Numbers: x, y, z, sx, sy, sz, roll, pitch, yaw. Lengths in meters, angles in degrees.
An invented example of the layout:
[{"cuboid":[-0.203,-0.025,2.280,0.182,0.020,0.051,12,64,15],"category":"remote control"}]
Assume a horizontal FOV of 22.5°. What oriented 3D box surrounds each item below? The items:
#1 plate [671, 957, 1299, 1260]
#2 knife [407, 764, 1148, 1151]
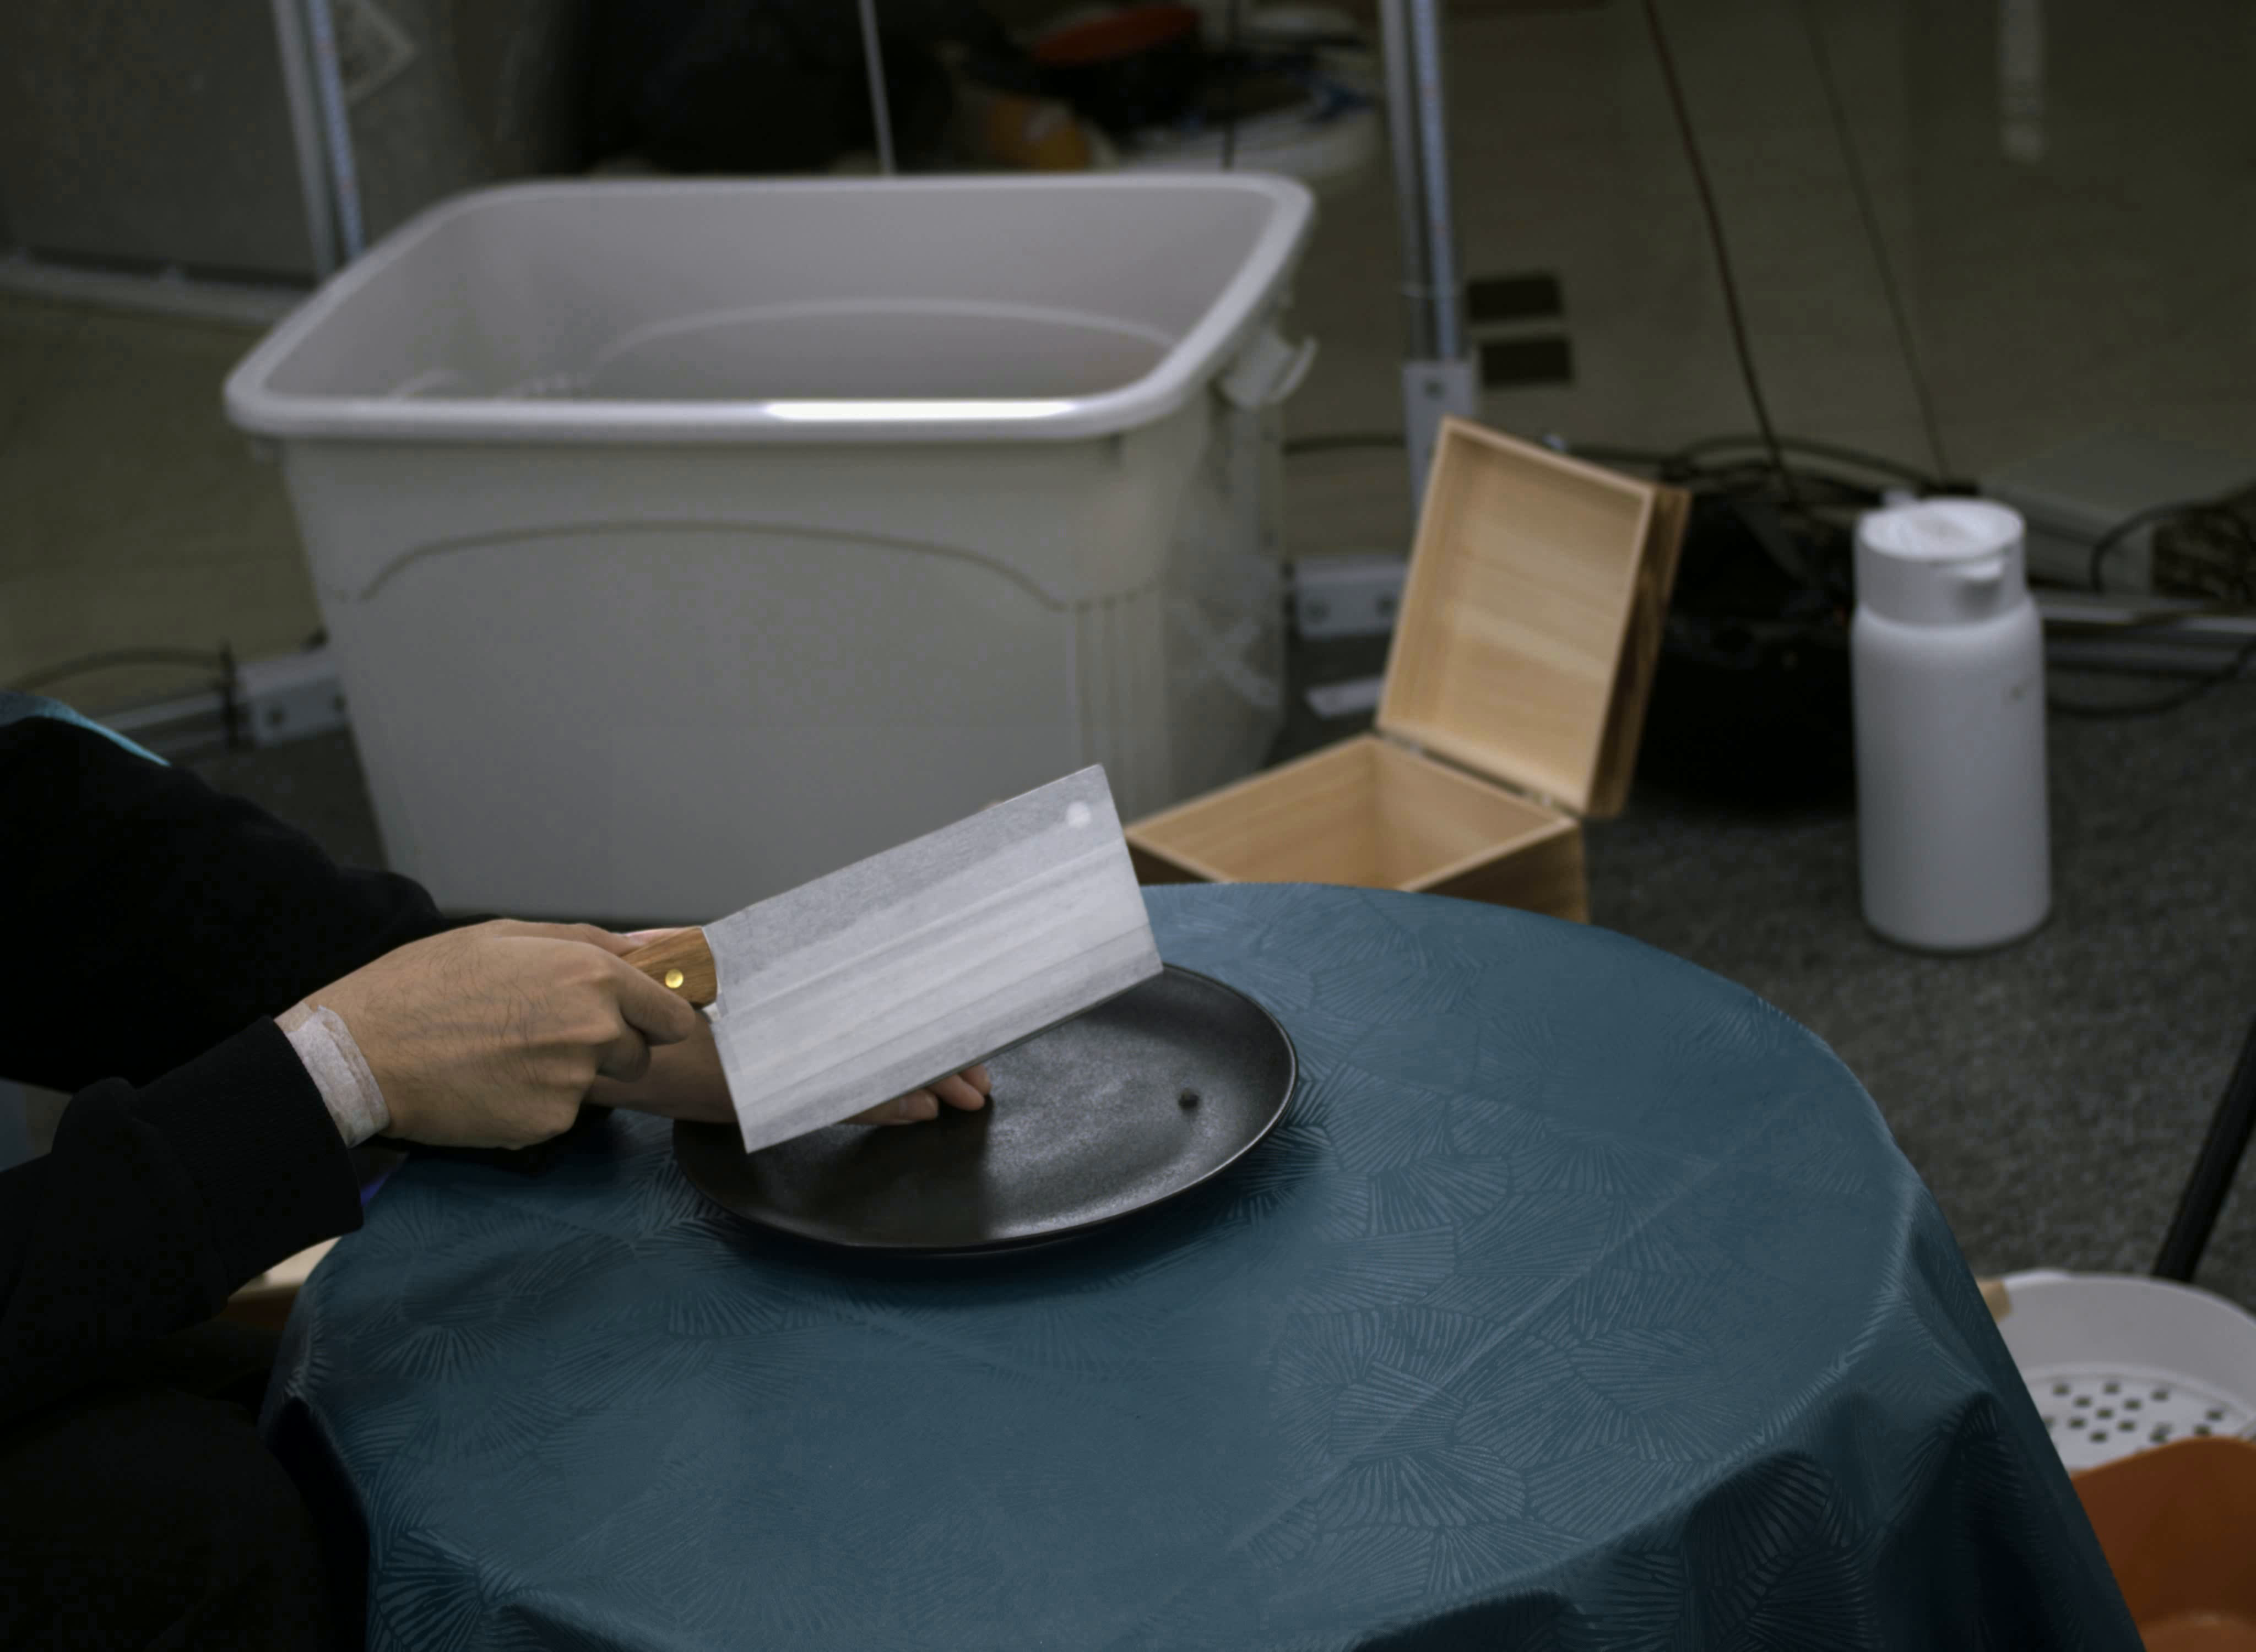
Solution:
[{"cuboid":[-0.054,0.112,2.188,0.244,0.024,0.241,-5,25,3],"category":"plate"},{"cuboid":[-0.125,0.068,2.142,0.304,0.094,0.021,-23,16,-24],"category":"knife"}]
